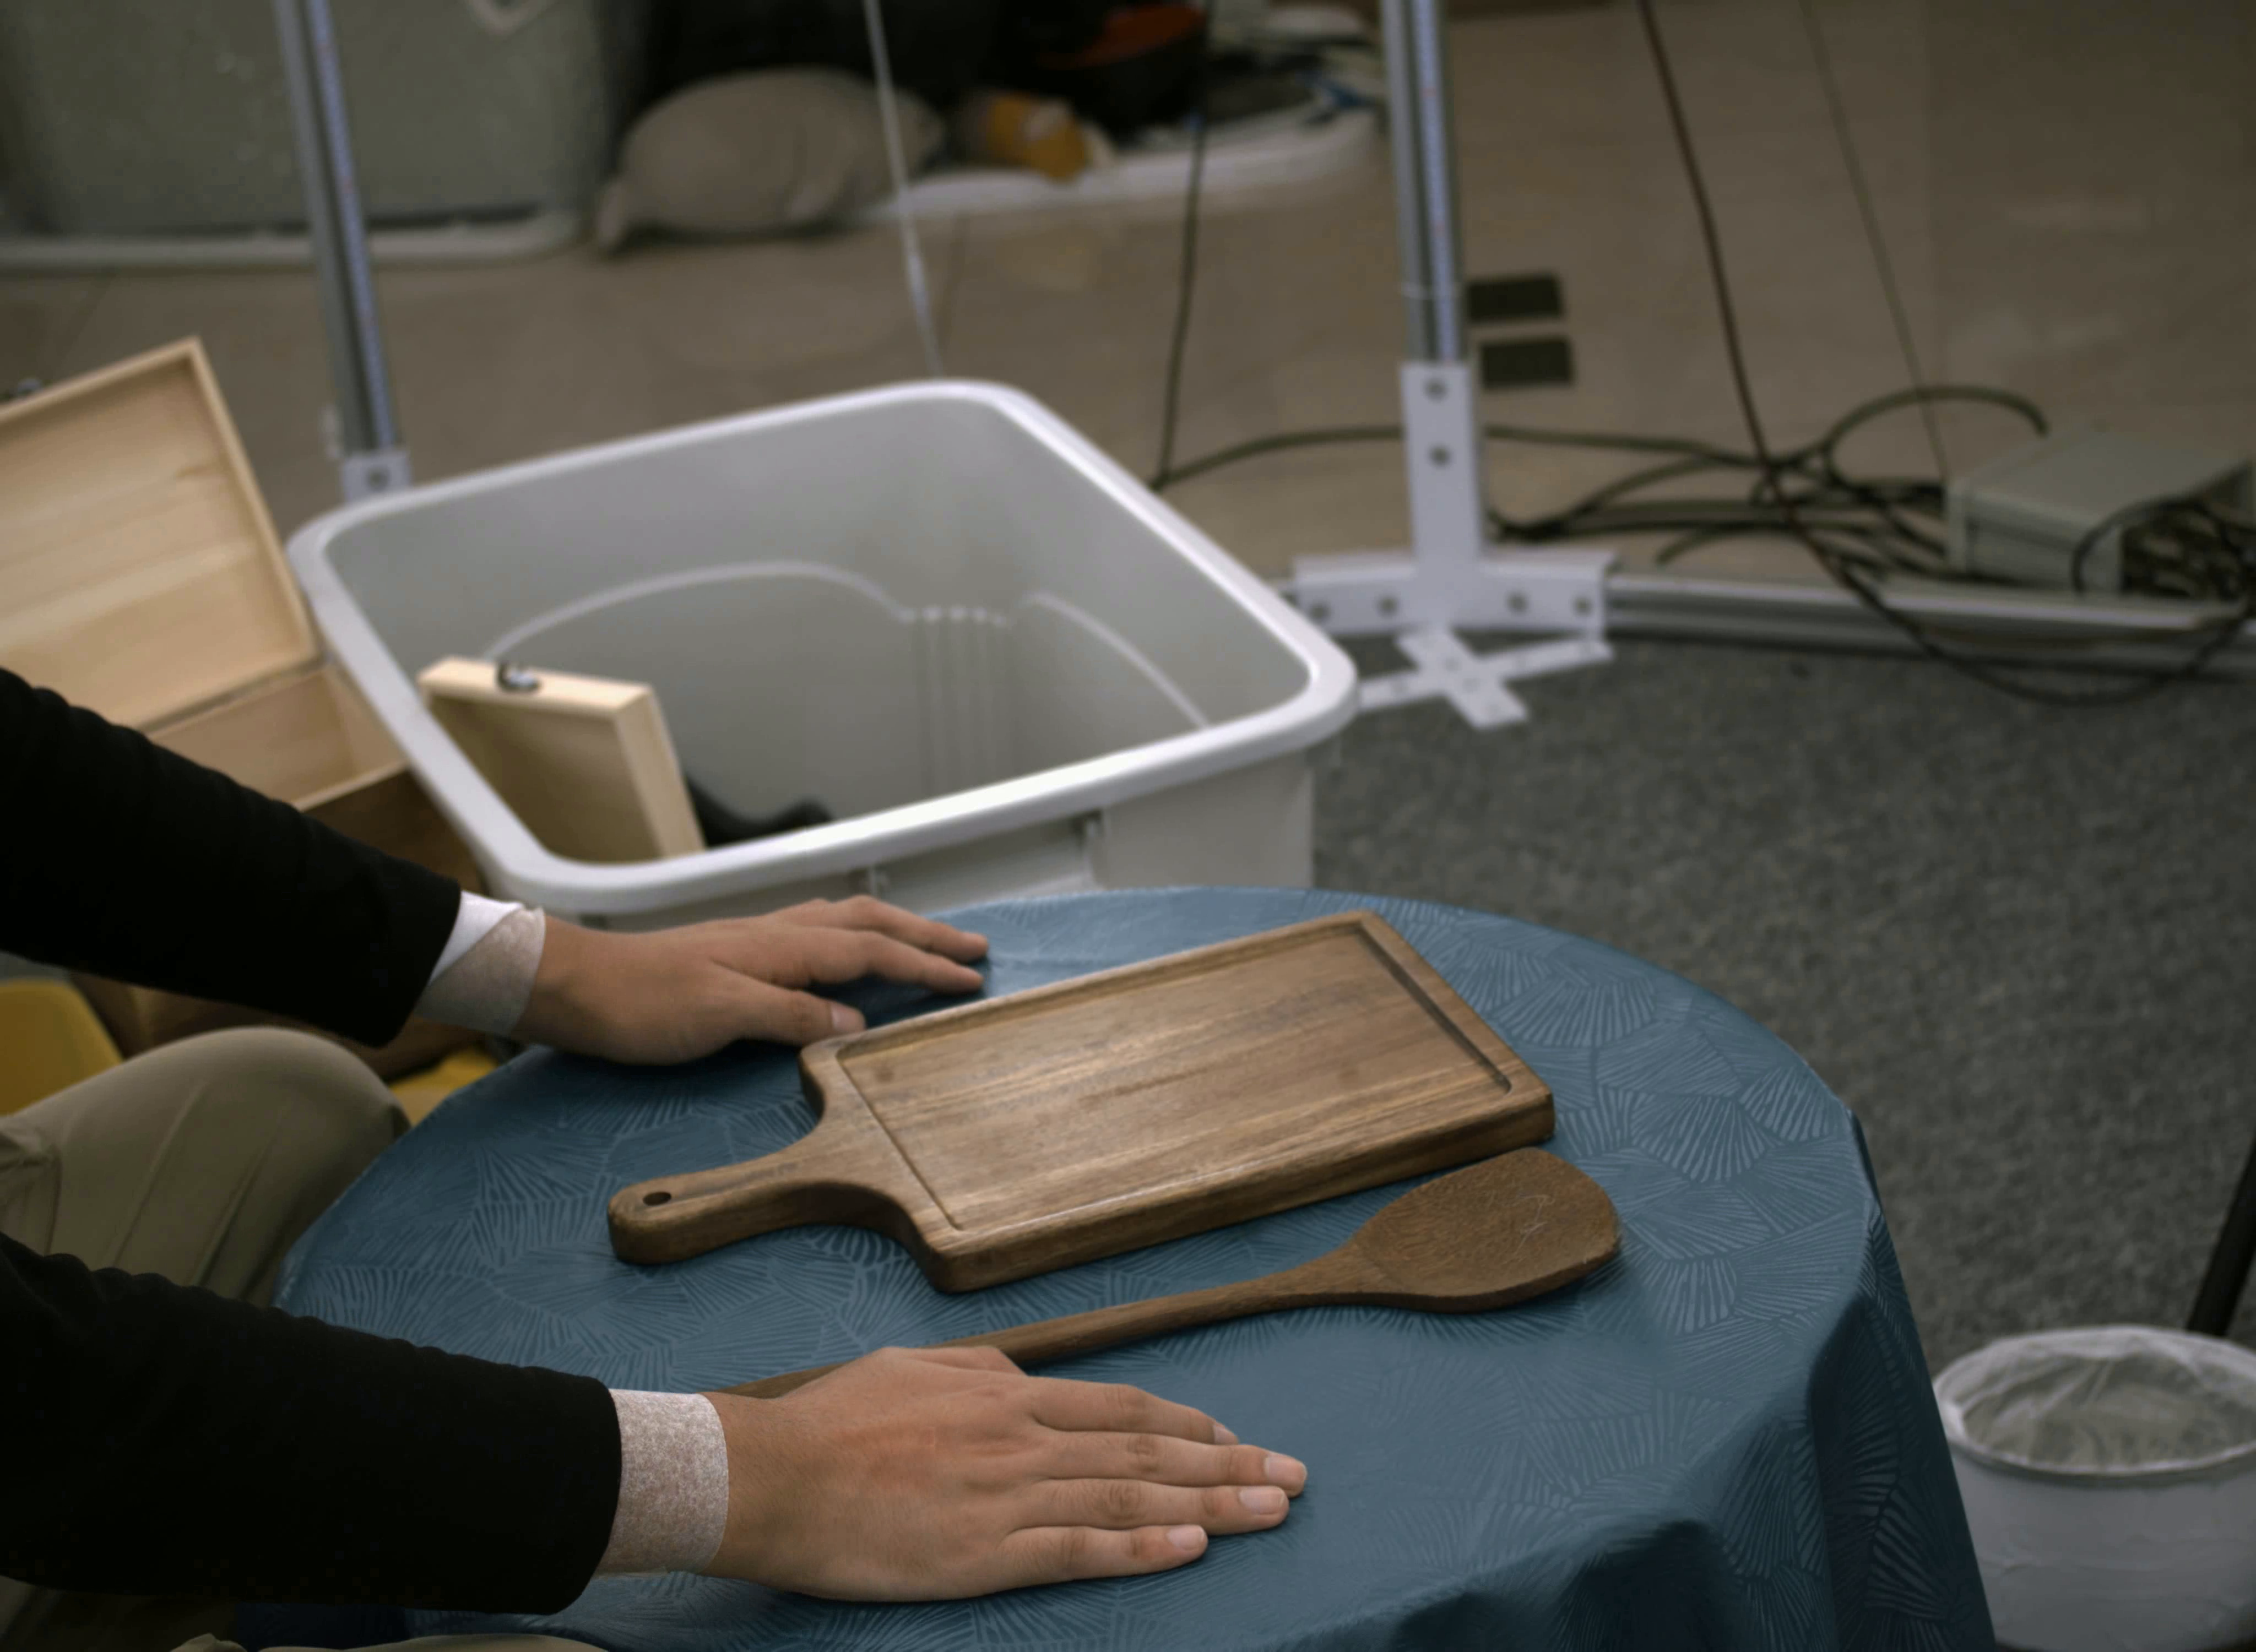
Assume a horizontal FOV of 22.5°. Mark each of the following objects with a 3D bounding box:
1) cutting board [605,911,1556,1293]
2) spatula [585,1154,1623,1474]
[{"bbox_3d":[-0.032,0.114,2.185,0.351,0.023,0.198,-14,26,-15],"label":"cutting board"},{"bbox_3d":[-0.008,0.180,2.044,0.385,0.016,0.095,-12,25,-12],"label":"spatula"}]
